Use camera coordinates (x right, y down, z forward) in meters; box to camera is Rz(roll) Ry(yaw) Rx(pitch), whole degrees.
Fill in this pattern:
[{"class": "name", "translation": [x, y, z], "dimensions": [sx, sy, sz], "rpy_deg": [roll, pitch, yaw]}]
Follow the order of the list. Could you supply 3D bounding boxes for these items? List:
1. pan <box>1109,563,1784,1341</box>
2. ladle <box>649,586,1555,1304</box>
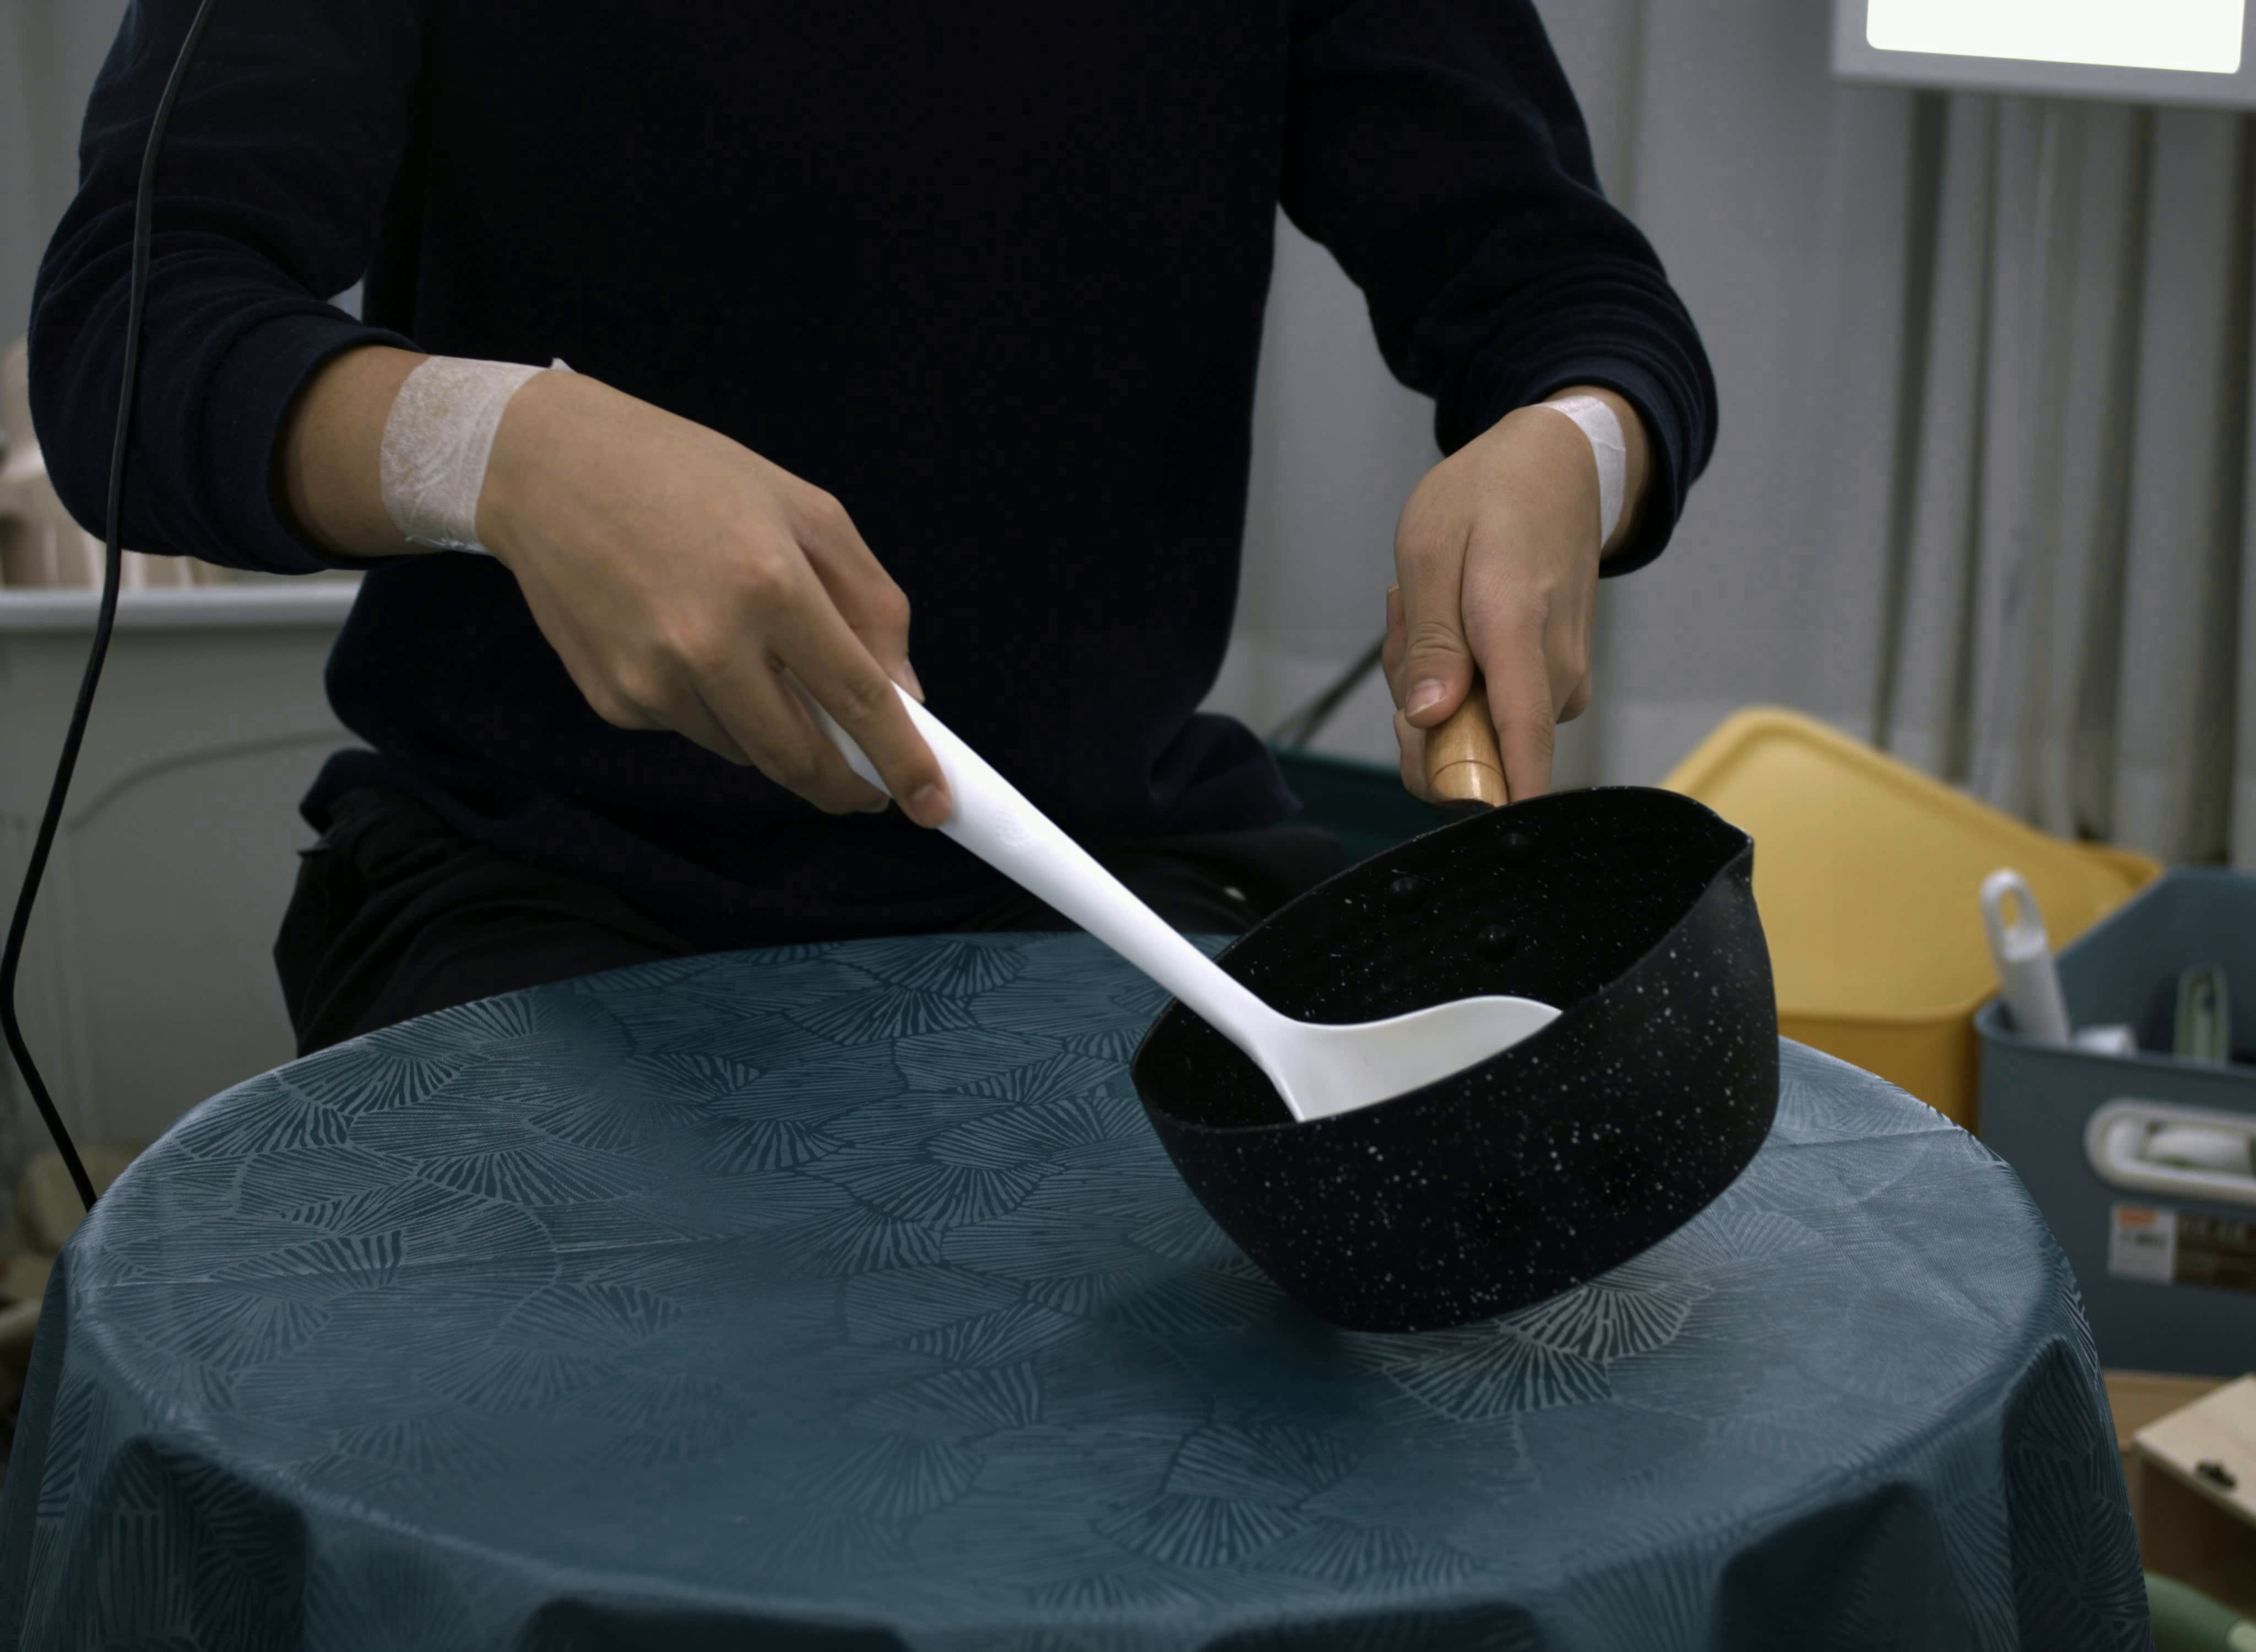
[{"class": "pan", "translation": [0.105, 0.030, 1.588], "dimensions": [0.206, 0.109, 0.341], "rpy_deg": [-22, 21, 14]}, {"class": "ladle", "translation": [-0.007, 0.027, 1.476], "dimensions": [0.293, 0.090, 0.070], "rpy_deg": [36, -12, -4]}]
